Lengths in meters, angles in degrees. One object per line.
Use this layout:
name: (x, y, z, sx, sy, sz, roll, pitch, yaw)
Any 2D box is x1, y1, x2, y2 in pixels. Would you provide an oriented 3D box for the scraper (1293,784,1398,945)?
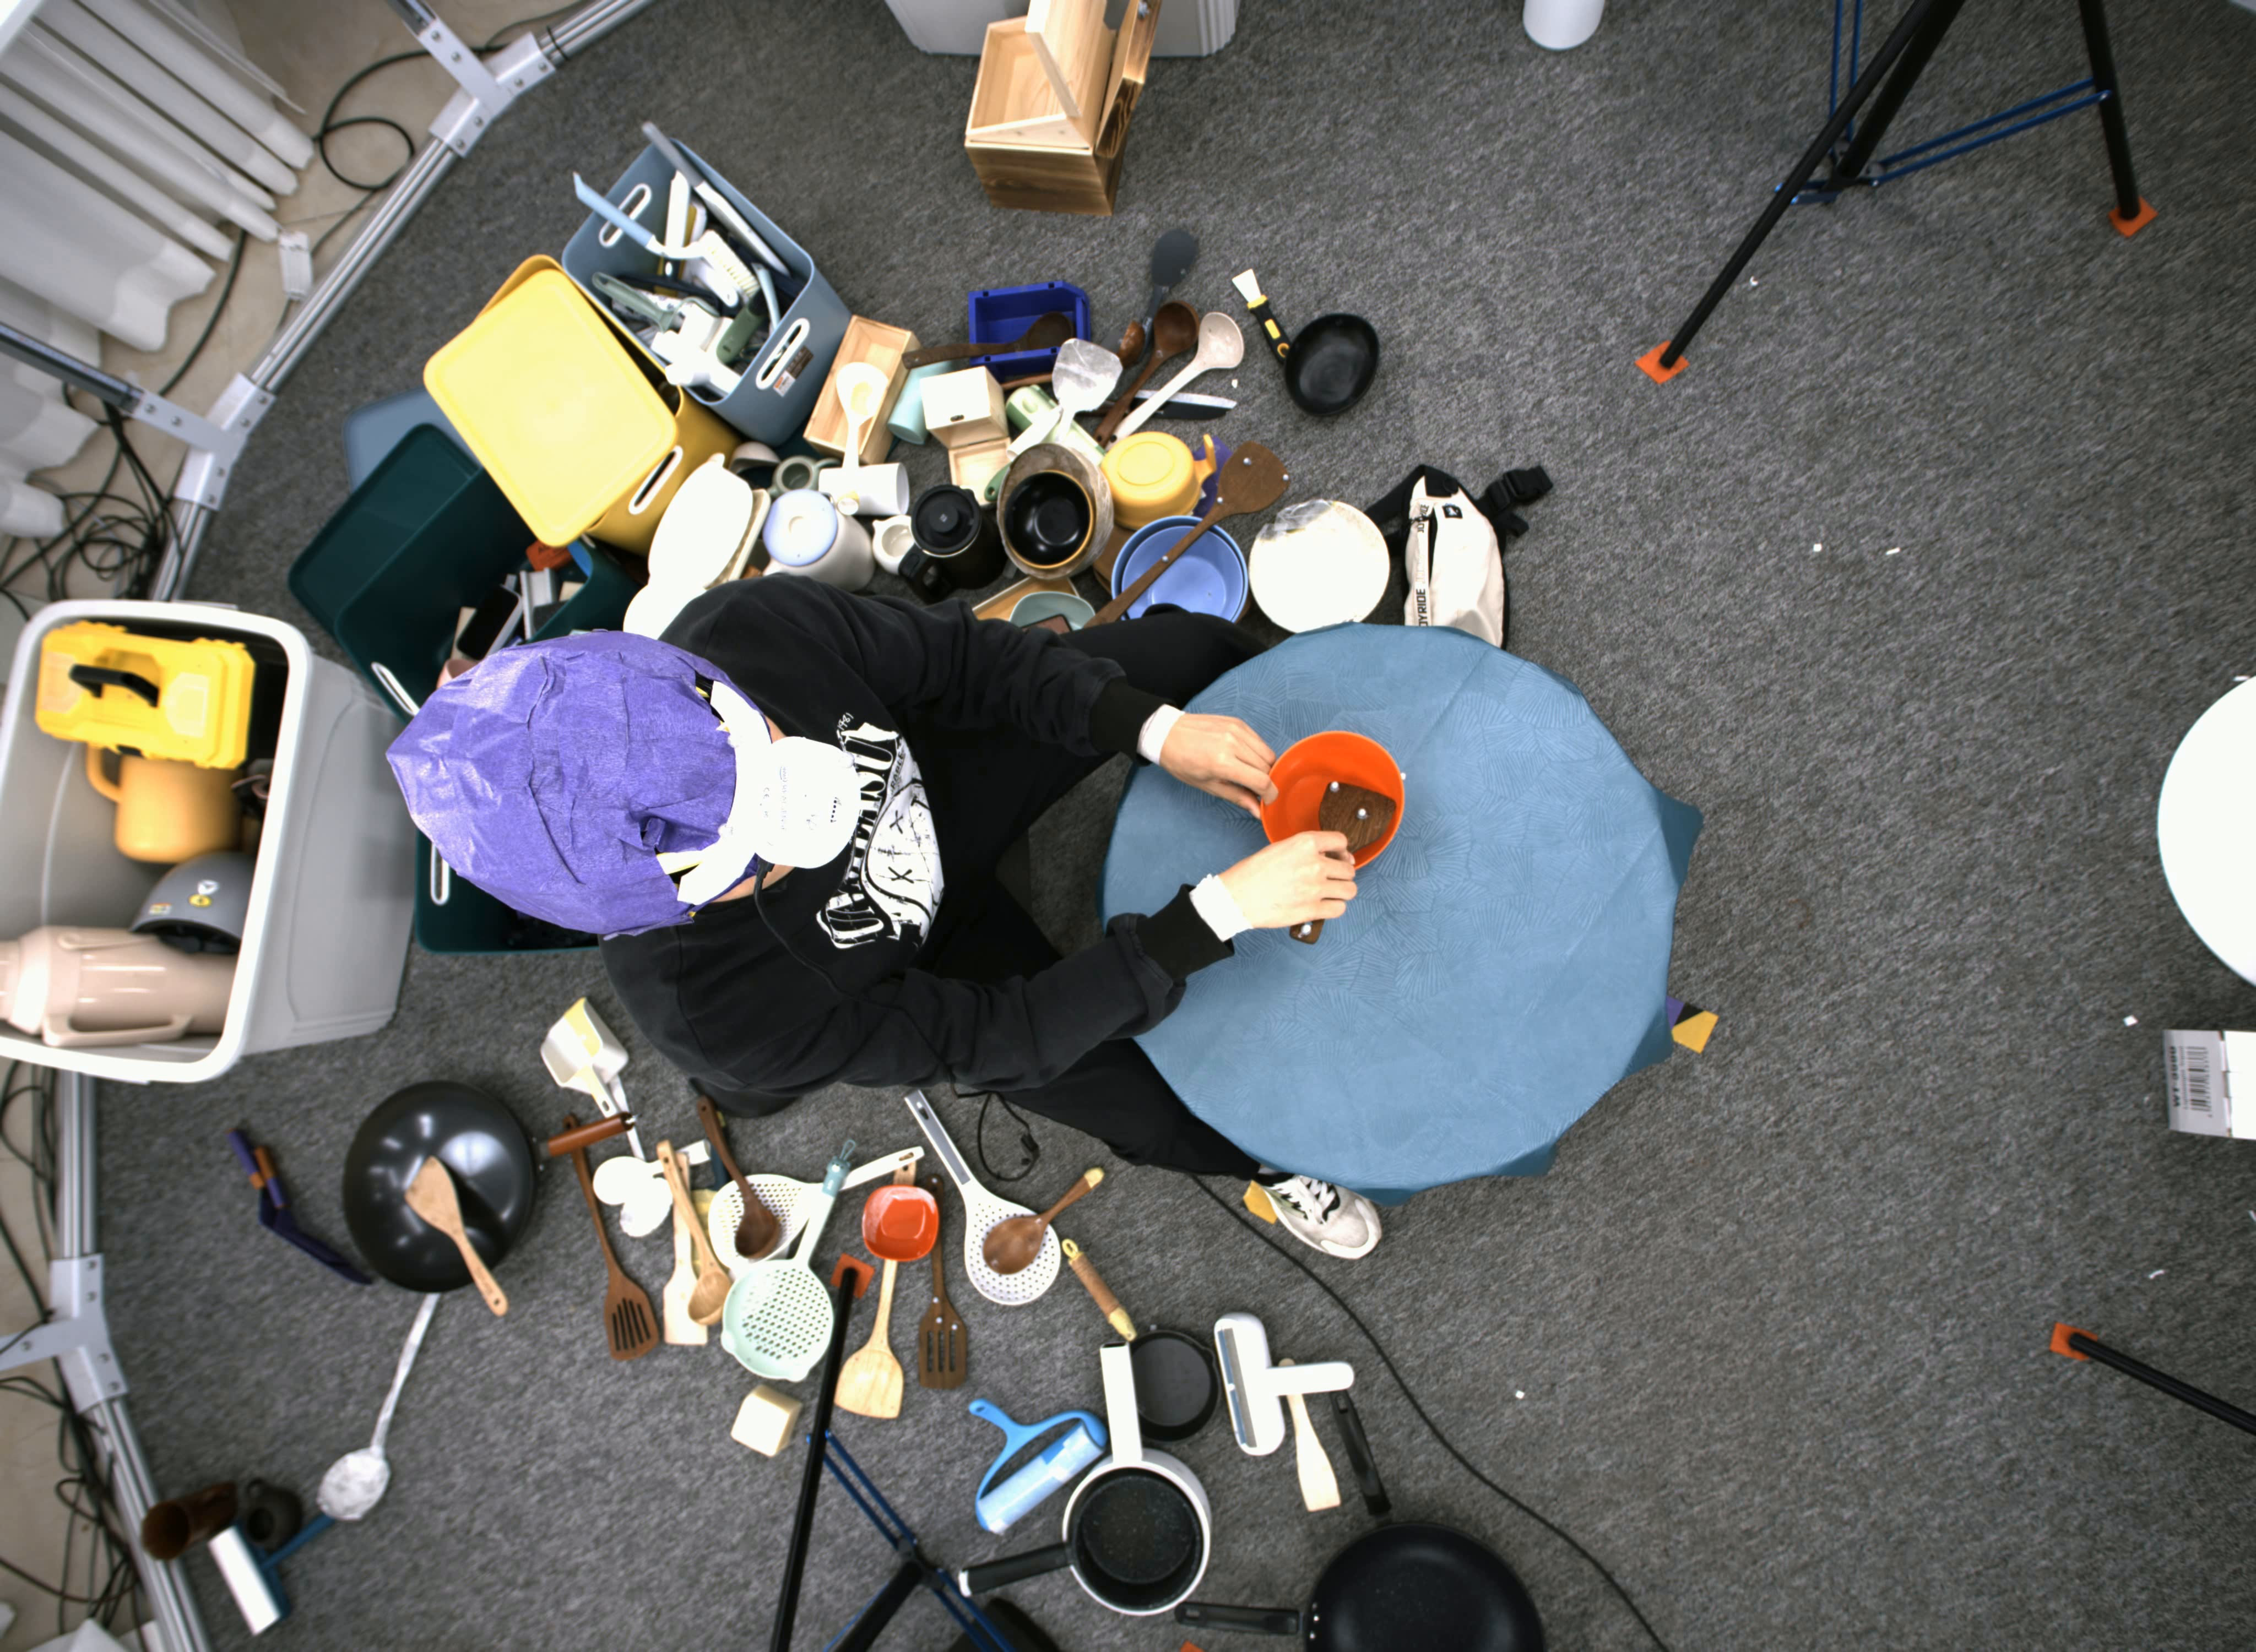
scraper: (0.204, 0.036, 1.354, 0.076, 0.011, 0.206, 19, 51, 13)

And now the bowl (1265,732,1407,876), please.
bowl: (0.205, -0.025, 1.421, 0.148, 0.104, 0.149, -1, 96, -6)
